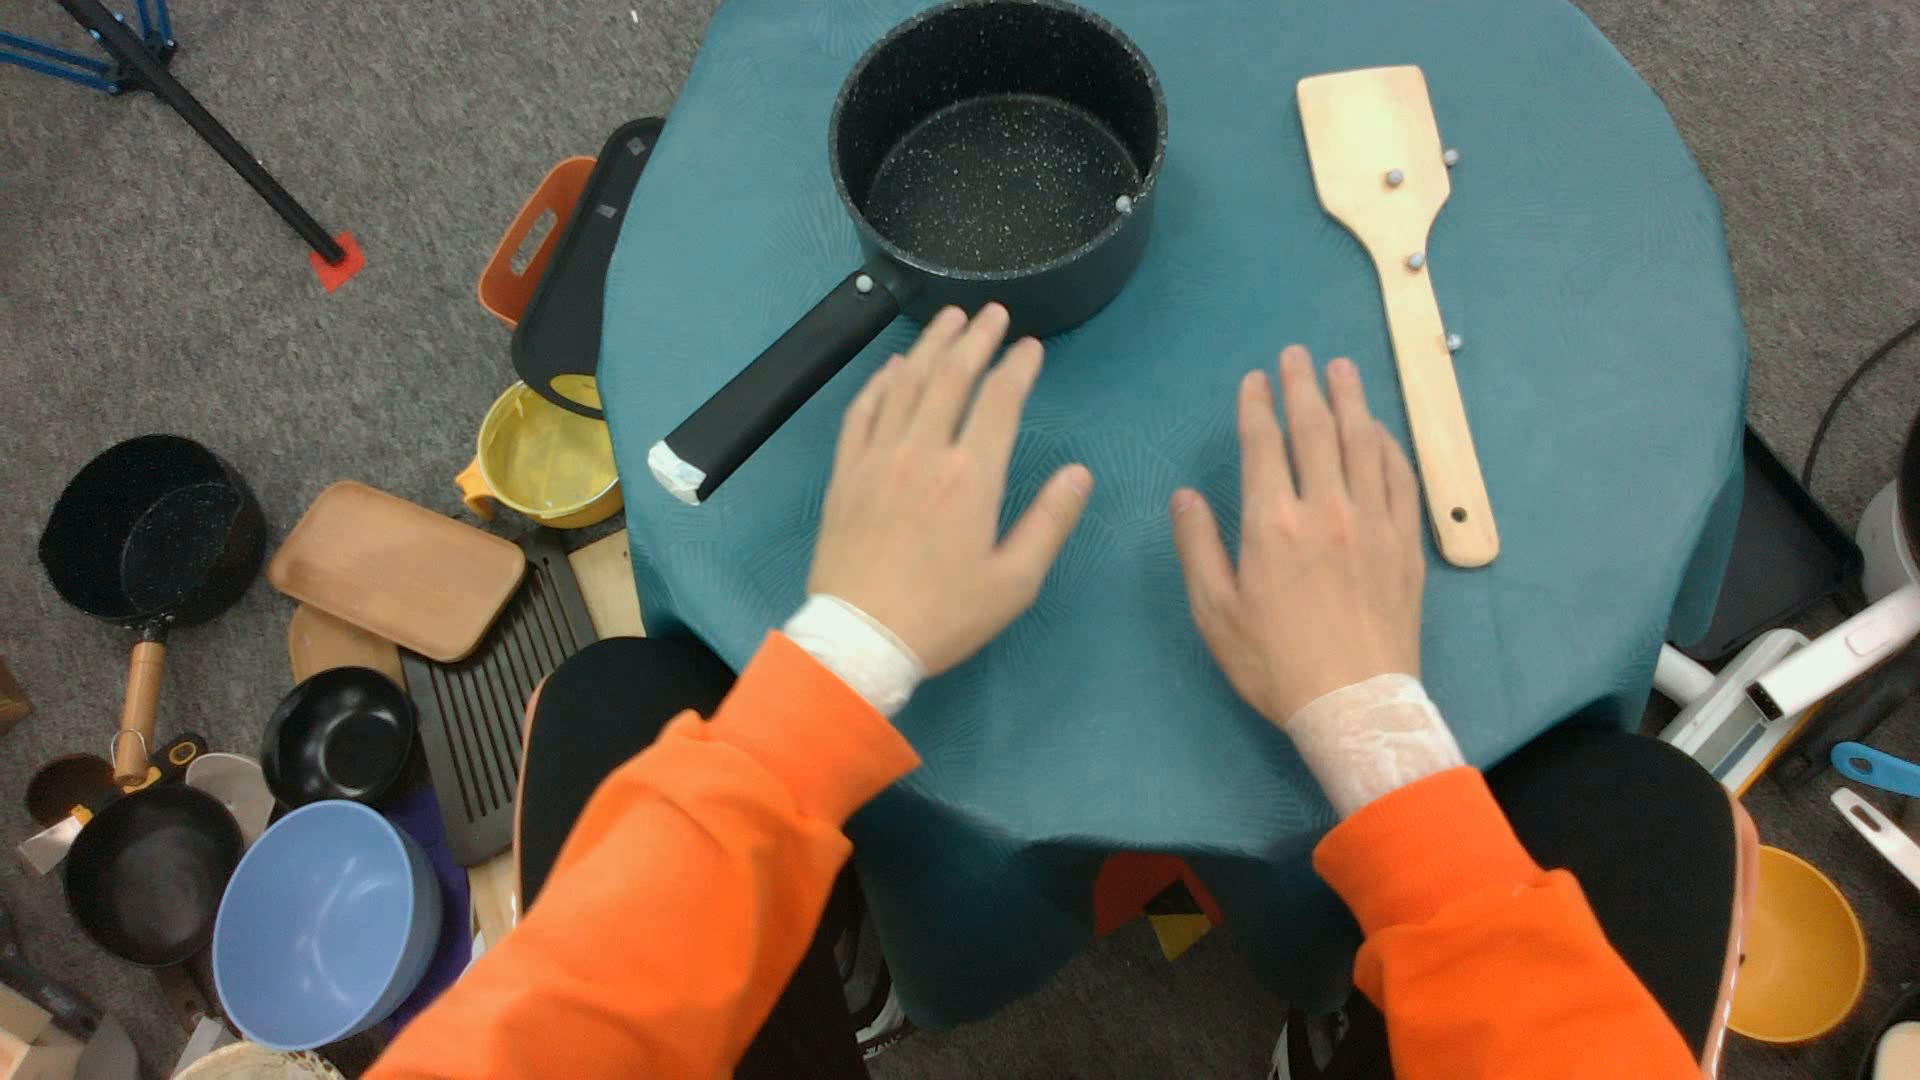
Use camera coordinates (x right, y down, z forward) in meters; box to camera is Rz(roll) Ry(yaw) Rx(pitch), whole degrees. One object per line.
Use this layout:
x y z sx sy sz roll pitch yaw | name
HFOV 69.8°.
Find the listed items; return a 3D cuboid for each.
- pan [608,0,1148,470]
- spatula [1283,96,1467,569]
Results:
-0.041 -0.145 0.704 0.172 0.086 0.329 38 75 18 | pan
0.226 -0.119 0.725 0.072 0.010 0.294 -1 65 -4 | spatula
